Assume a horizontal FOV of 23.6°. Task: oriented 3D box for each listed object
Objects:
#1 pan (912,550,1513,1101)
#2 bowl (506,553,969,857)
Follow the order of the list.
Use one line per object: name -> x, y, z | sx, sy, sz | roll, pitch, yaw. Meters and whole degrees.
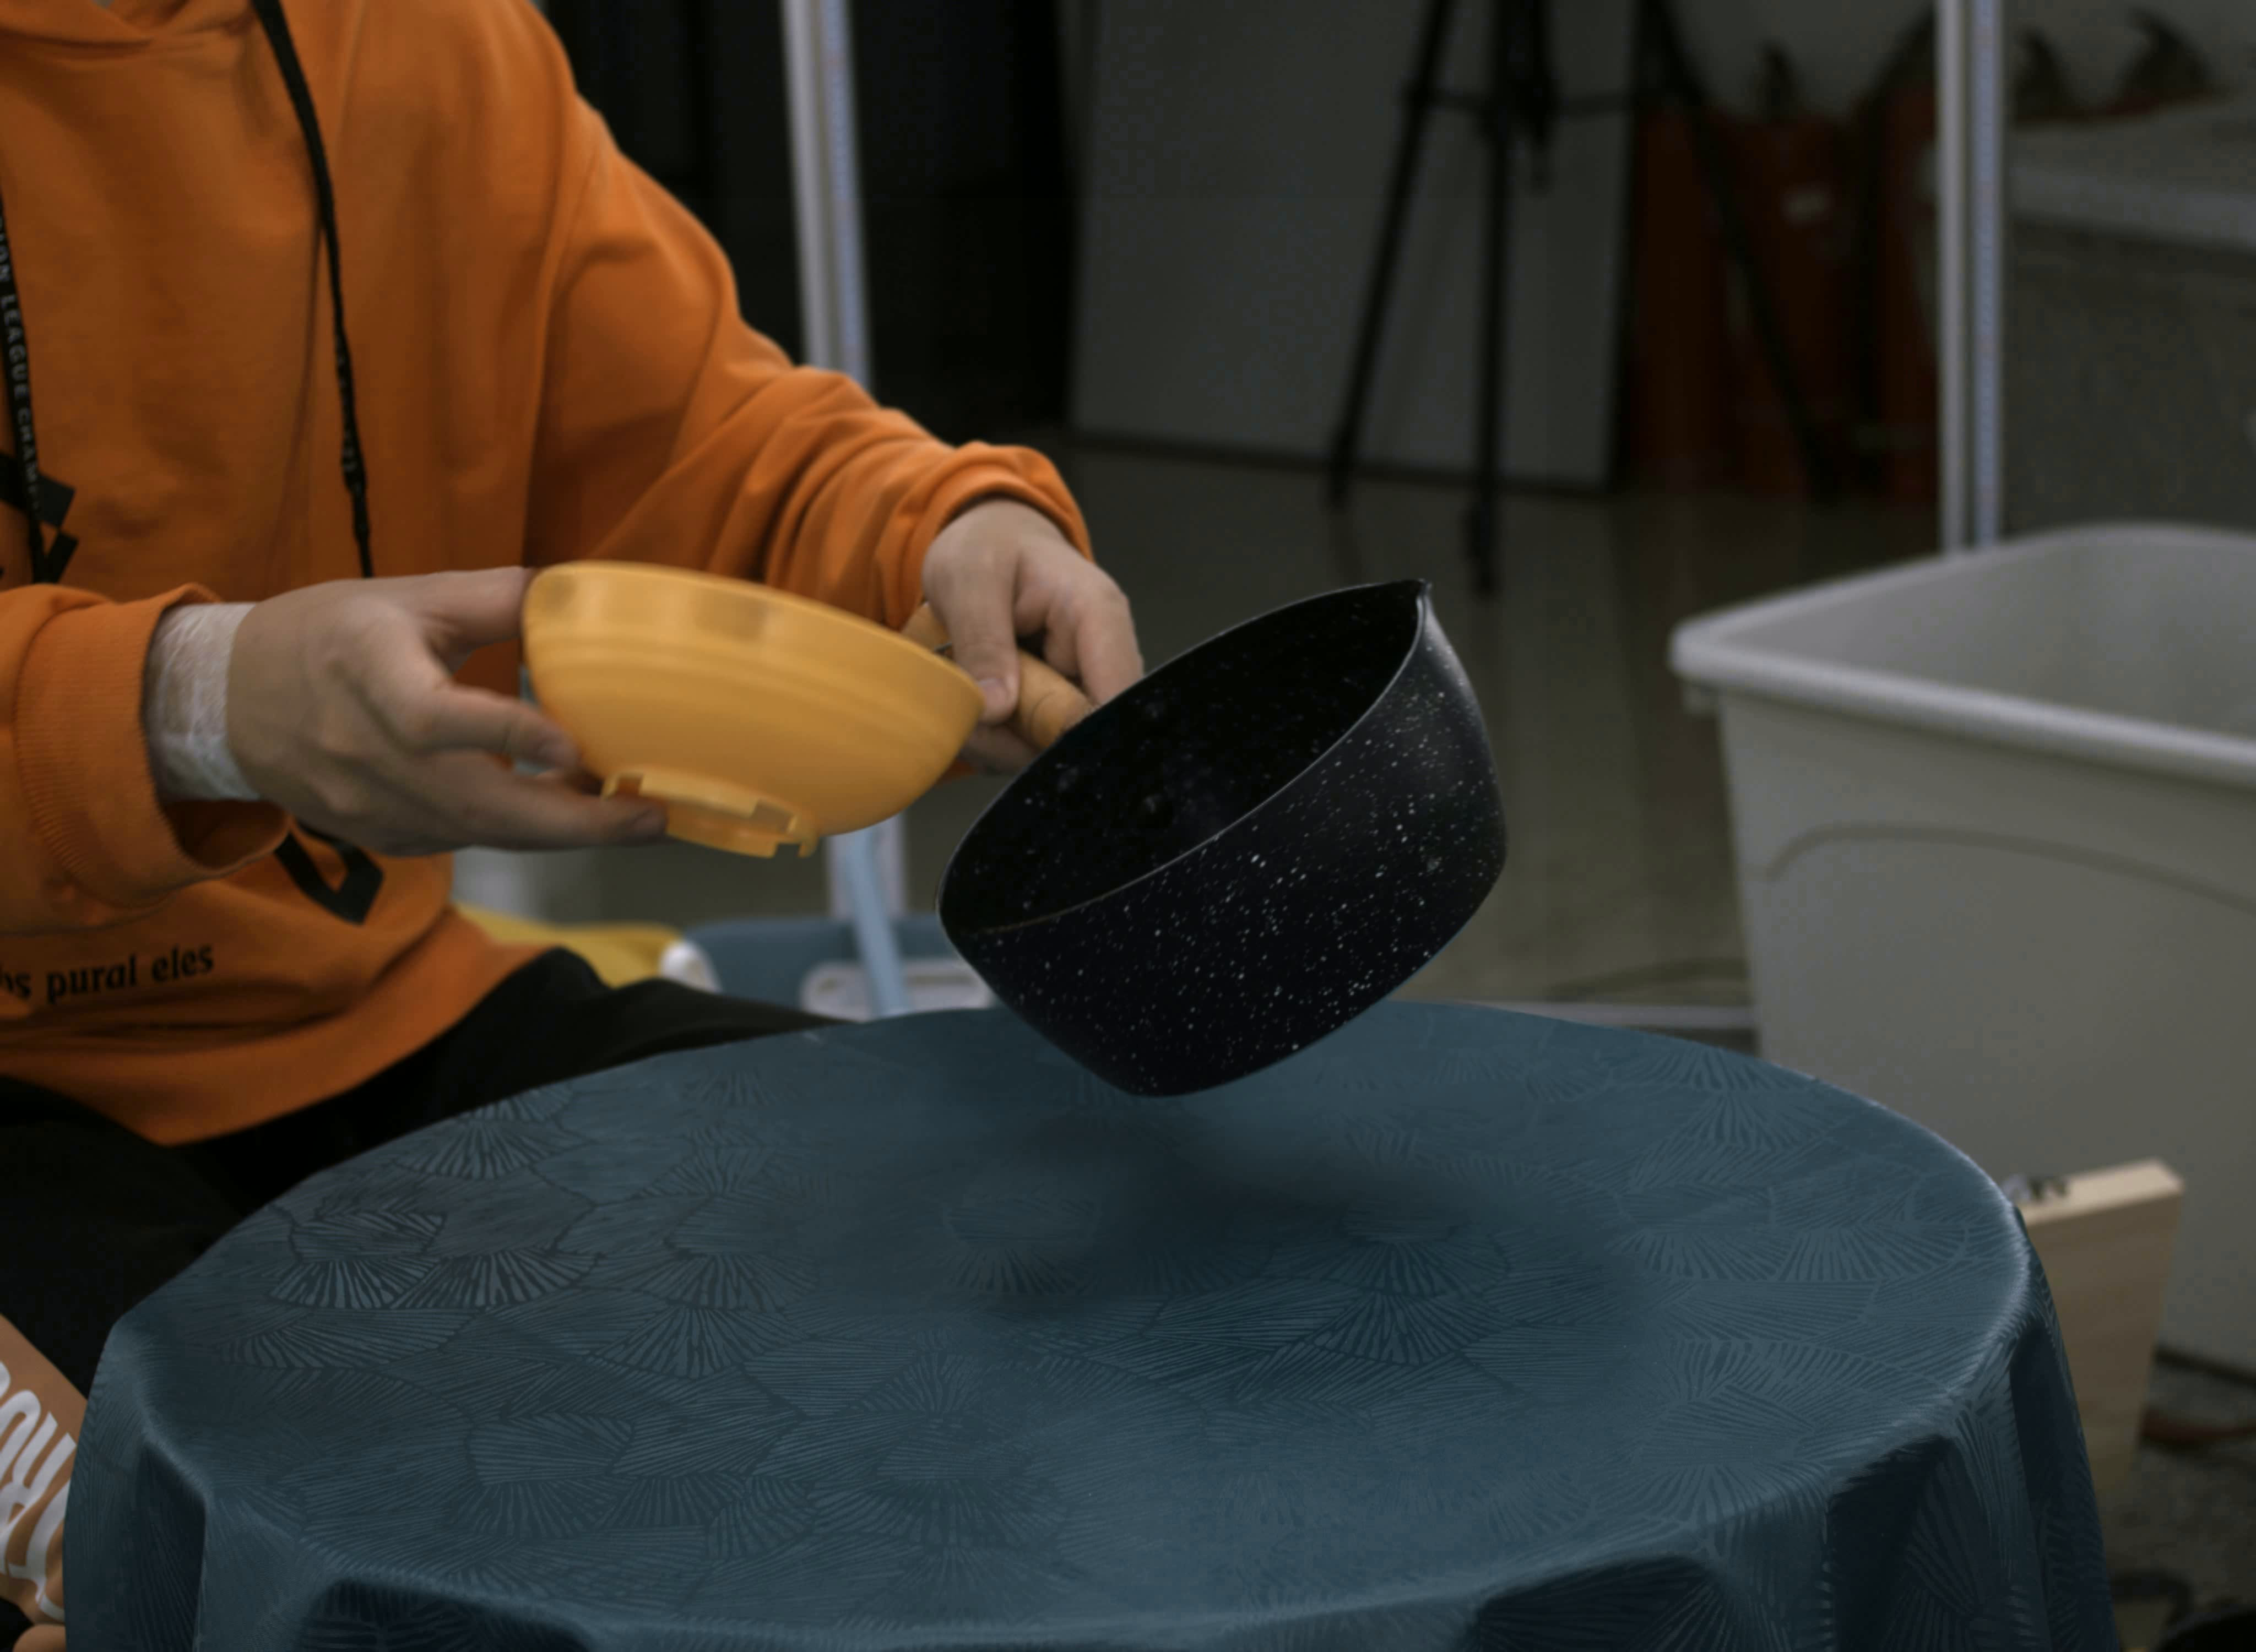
pan -> 0.006, -0.012, 1.797 | 0.206, 0.108, 0.346 | -38, 19, -10
bowl -> -0.123, -0.029, 1.618 | 0.144, 0.061, 0.145 | 13, -12, 2
